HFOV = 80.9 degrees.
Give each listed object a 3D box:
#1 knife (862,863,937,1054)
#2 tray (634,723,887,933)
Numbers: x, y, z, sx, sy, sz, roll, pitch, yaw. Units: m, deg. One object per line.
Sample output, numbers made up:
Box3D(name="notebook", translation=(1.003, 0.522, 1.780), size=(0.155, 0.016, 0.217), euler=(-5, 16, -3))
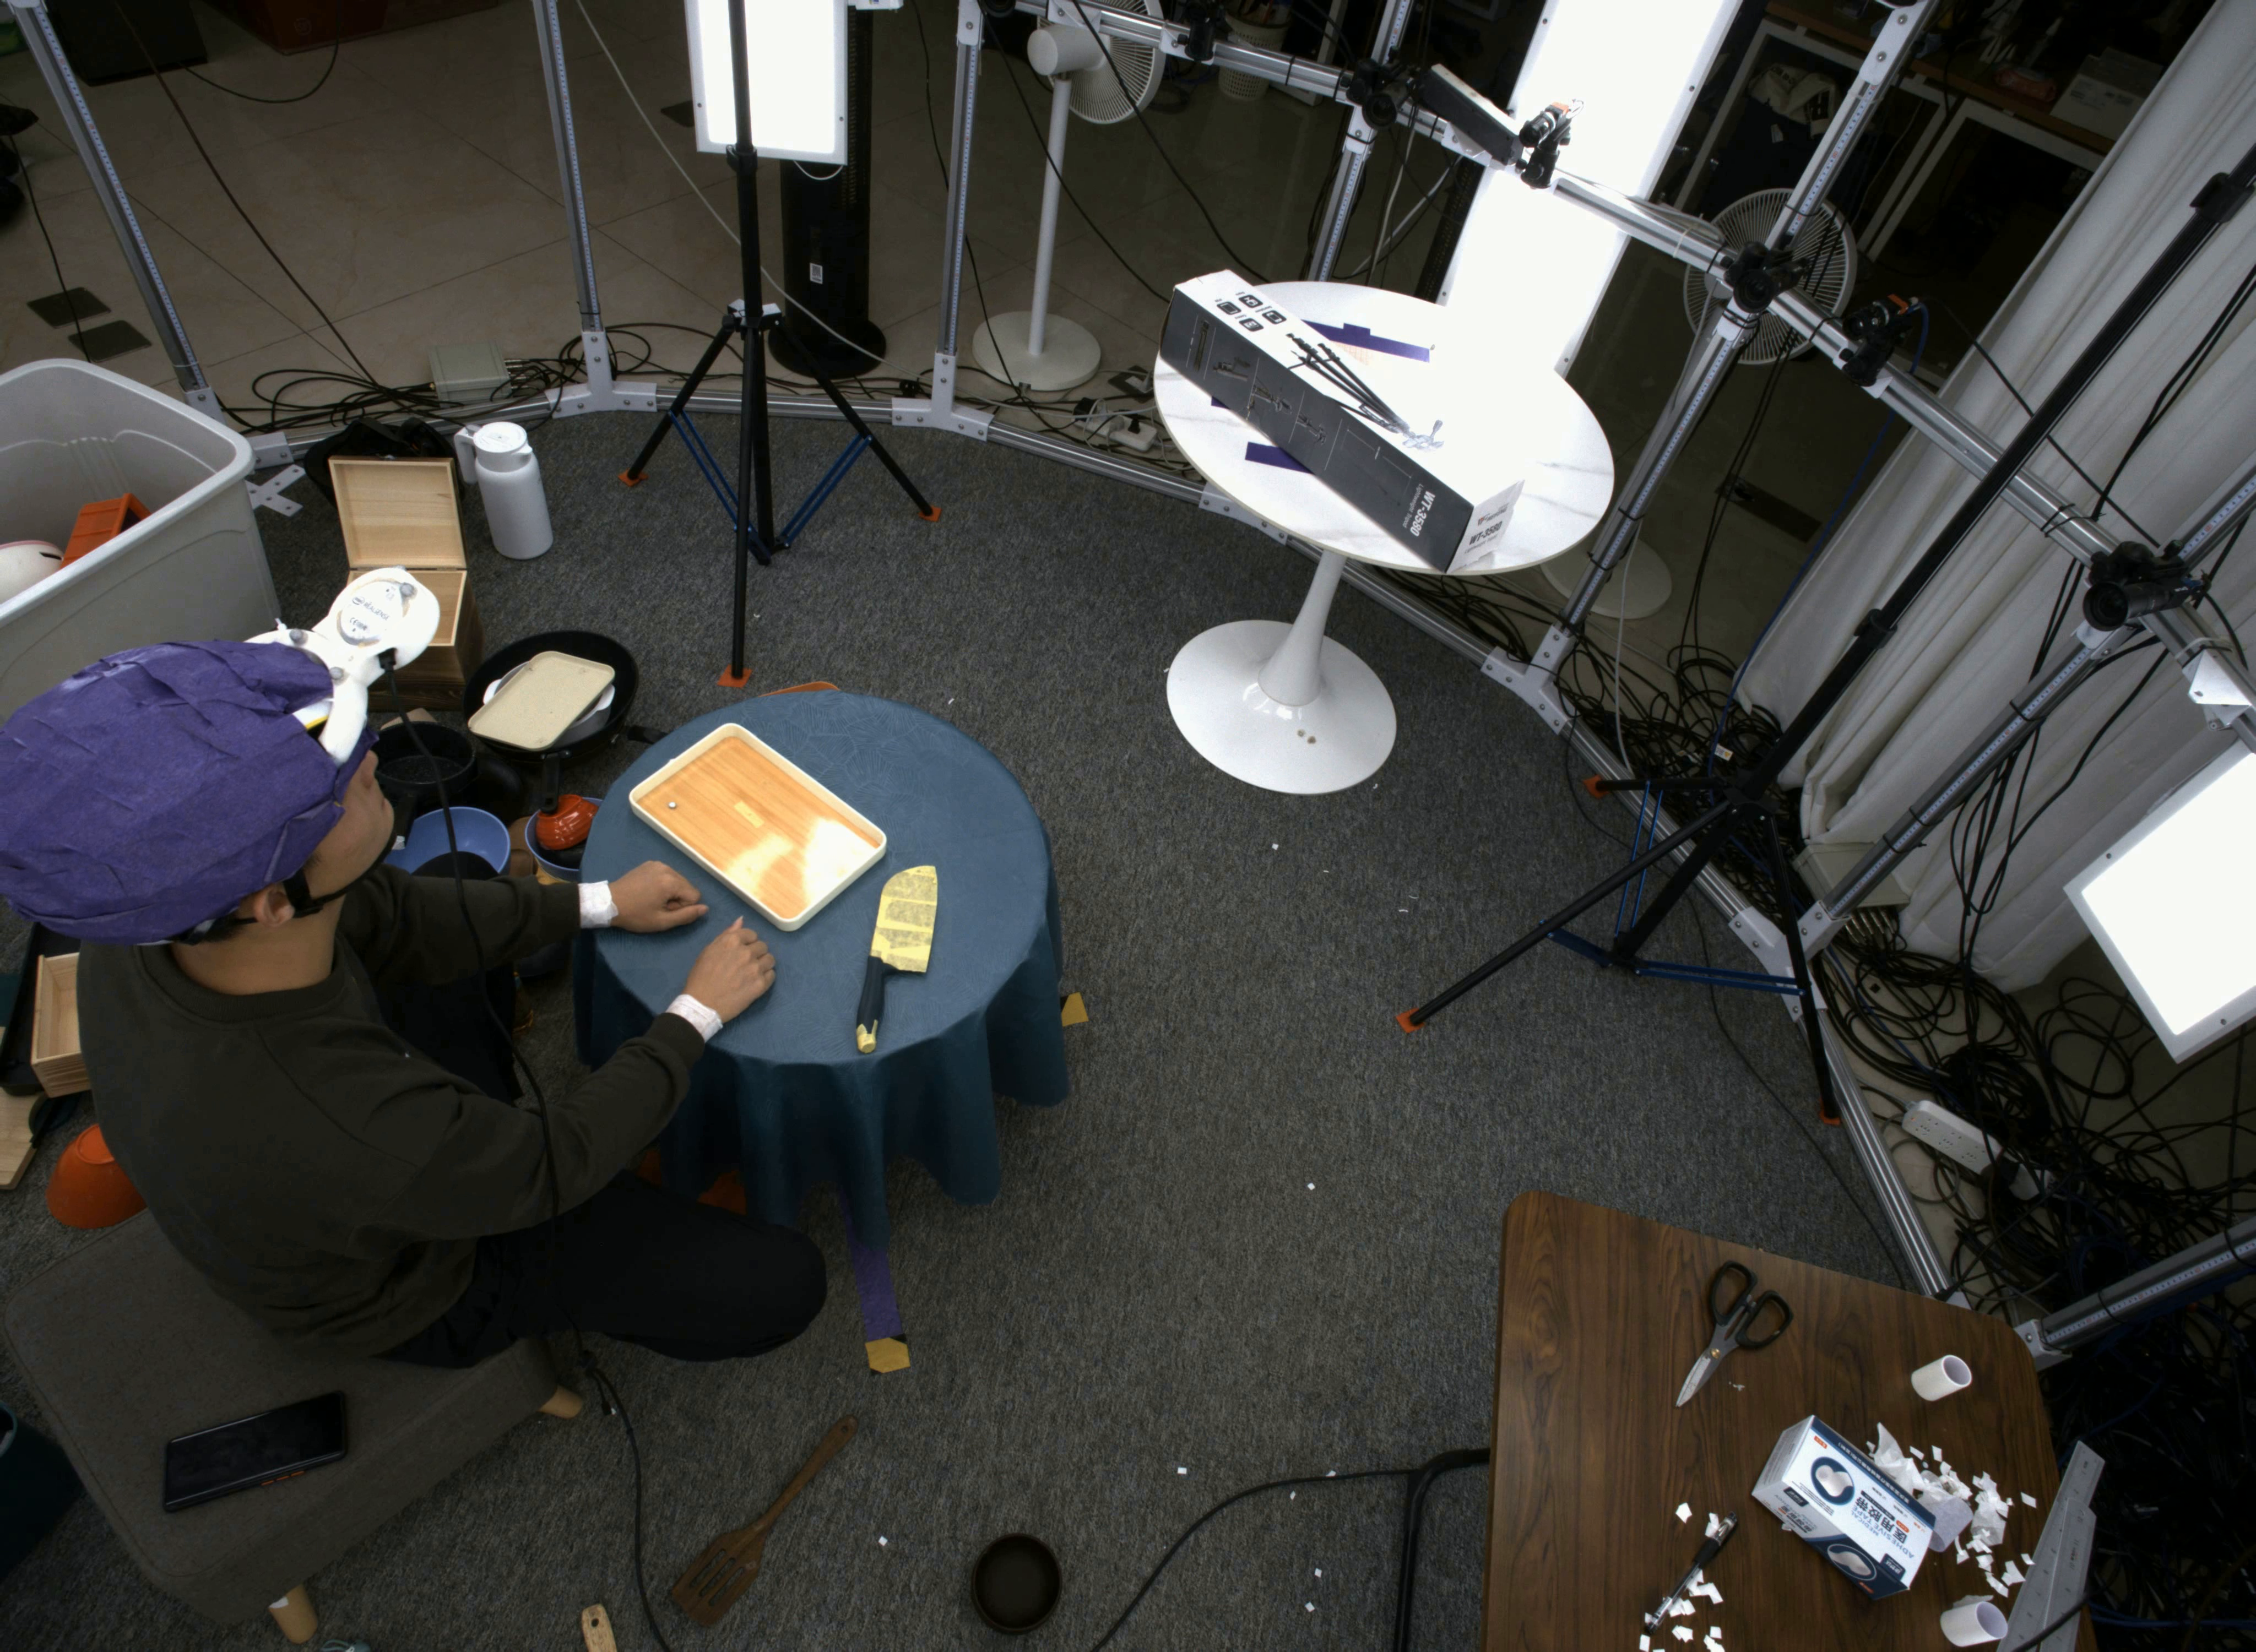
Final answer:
Box3D(name="knife", translation=(-0.288, 0.159, 1.643), size=(0.080, 0.028, 0.285), euler=(9, 51, -4))
Box3D(name="tray", translation=(-0.485, -0.004, 1.705), size=(0.294, 0.028, 0.191), euler=(35, 55, 13))
